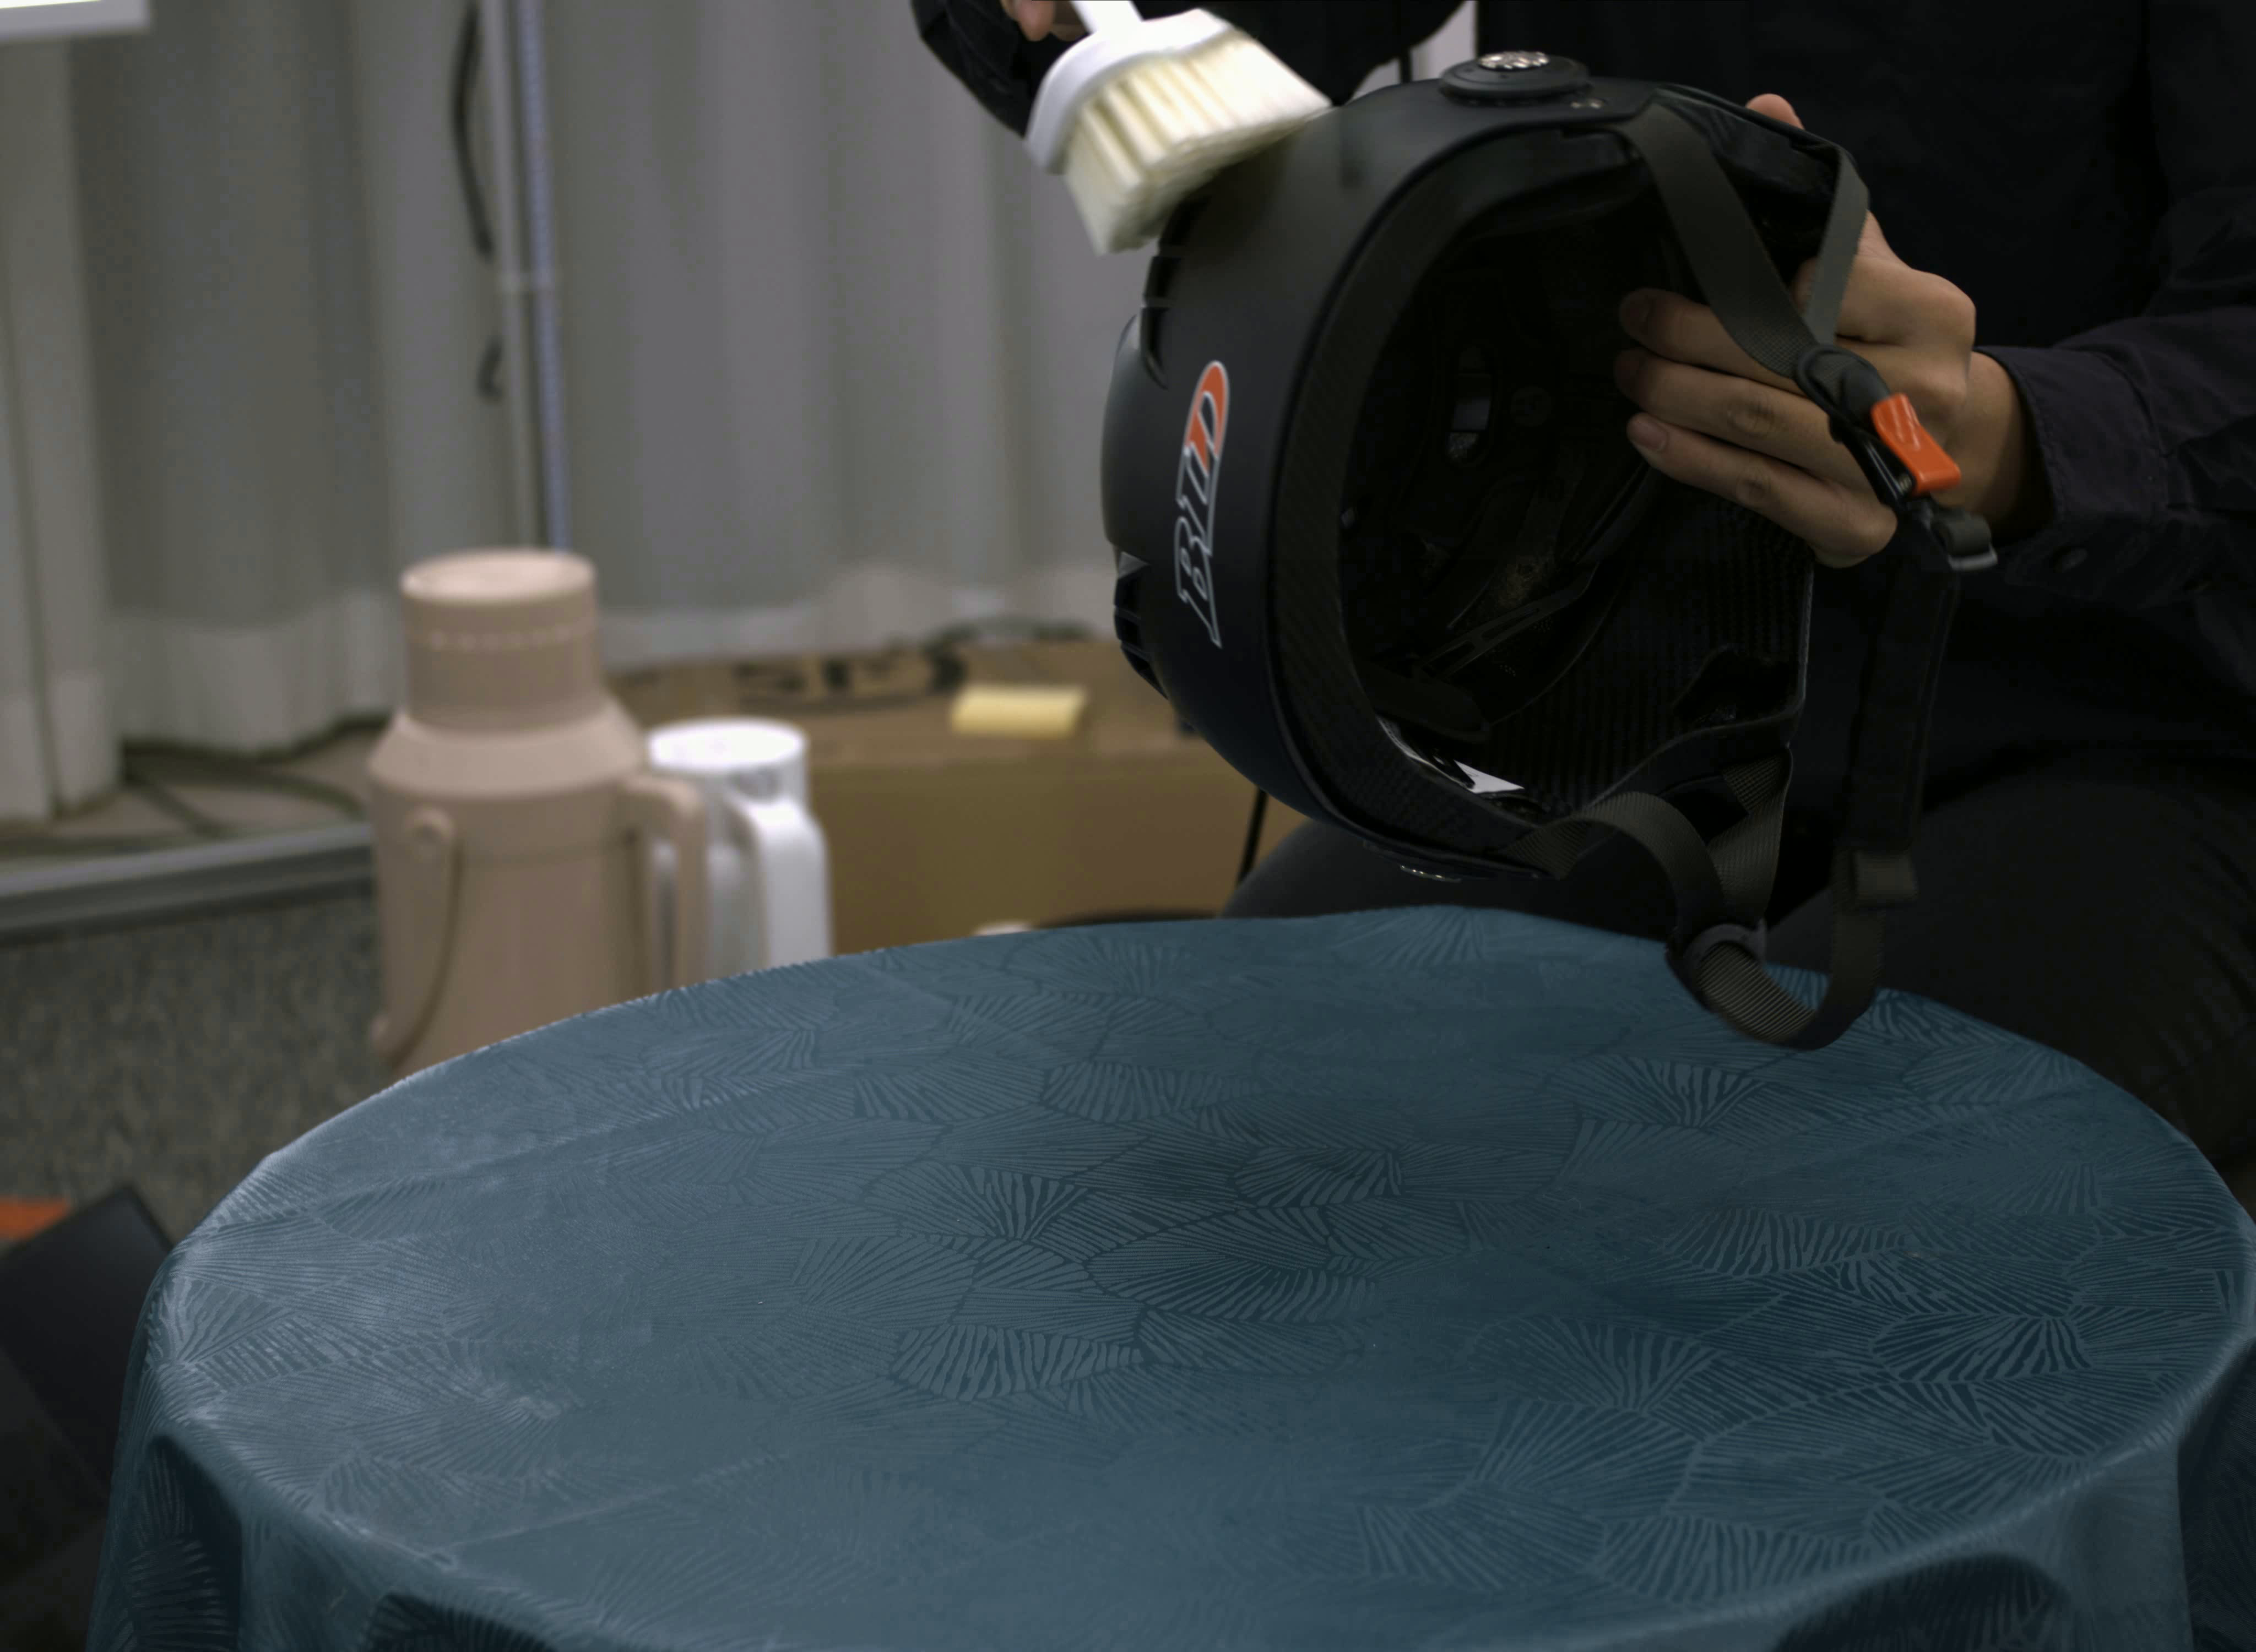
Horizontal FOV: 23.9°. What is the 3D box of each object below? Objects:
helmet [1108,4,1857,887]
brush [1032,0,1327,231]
[{"bbox_3d":[0.087,-0.112,1.498,0.176,0.247,0.270,15,17,38],"label":"helmet"},{"bbox_3d":[0.015,-0.227,1.559,0.083,0.084,0.326,-1,17,0],"label":"brush"}]
